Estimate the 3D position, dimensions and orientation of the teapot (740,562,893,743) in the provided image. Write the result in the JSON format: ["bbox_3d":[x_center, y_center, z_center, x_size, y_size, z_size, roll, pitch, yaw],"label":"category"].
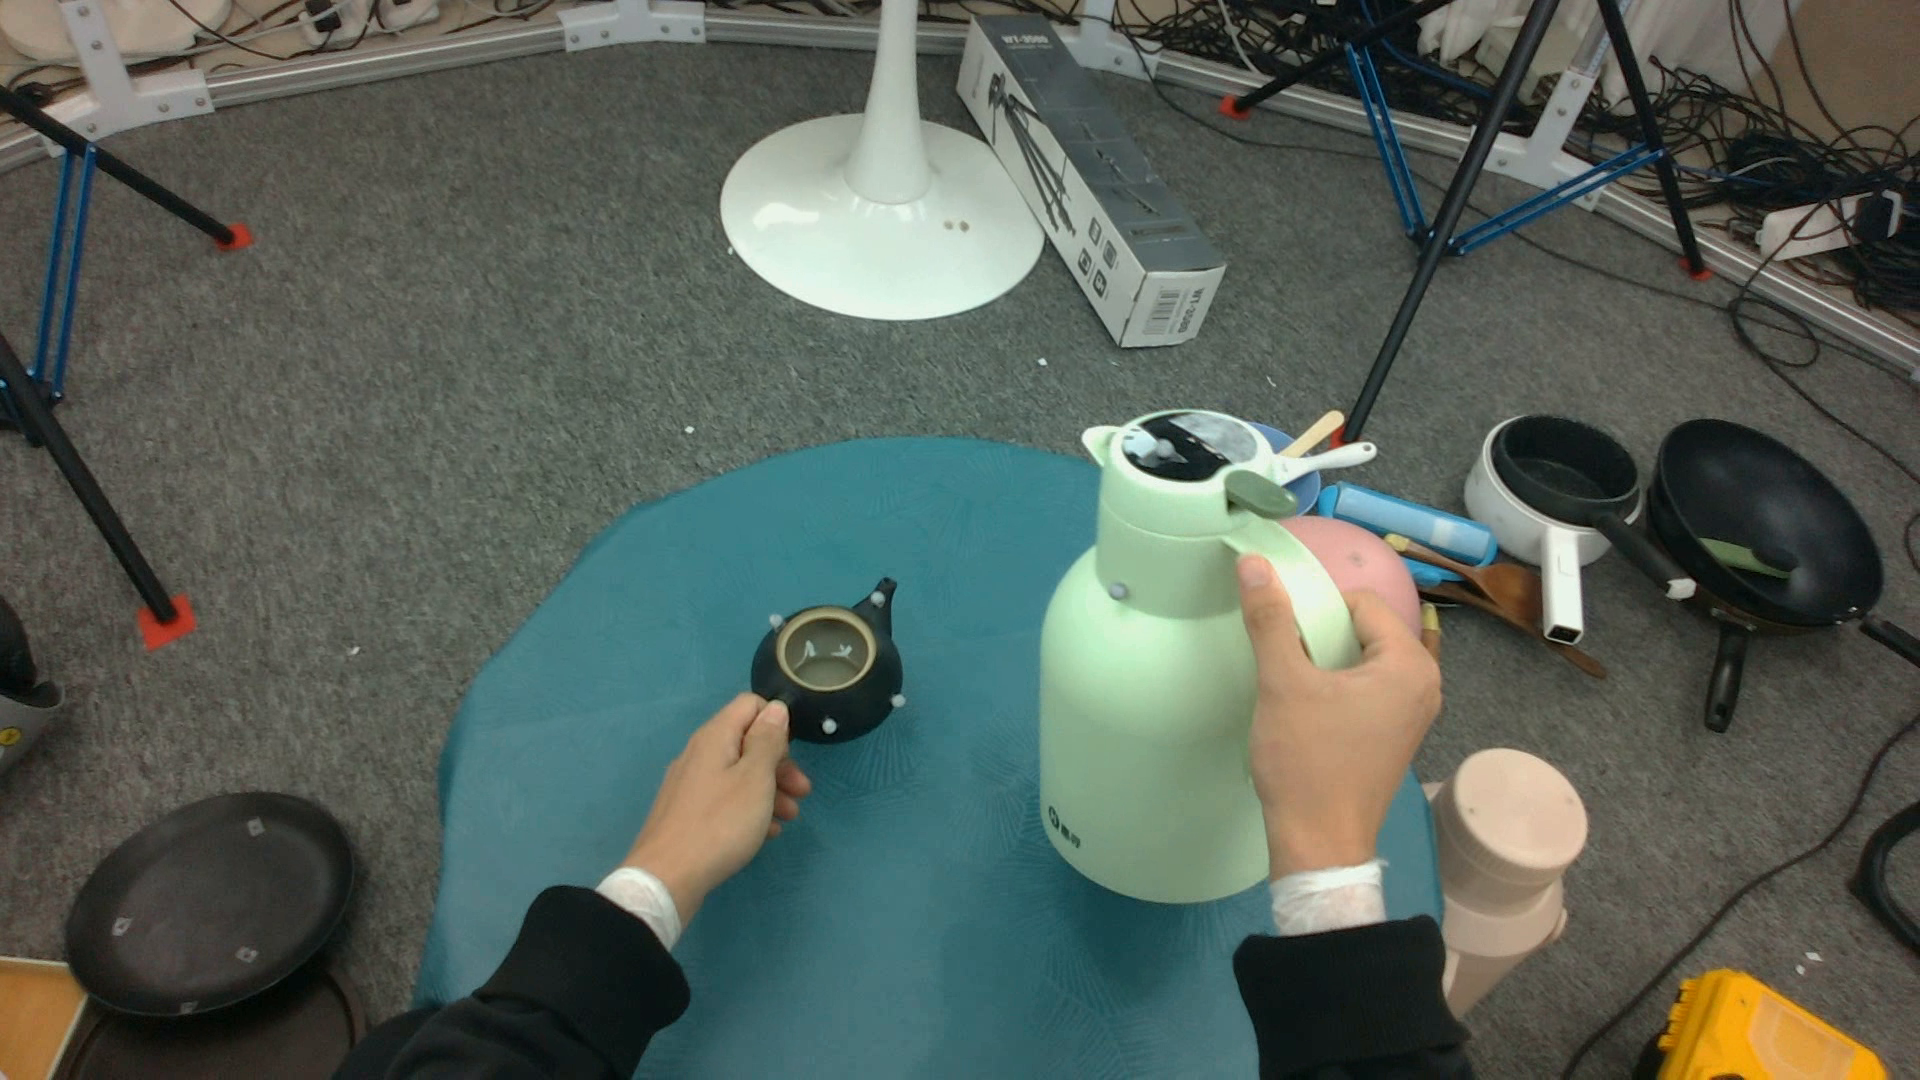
[{"bbox_3d":[-0.085,0.070,0.814,0.091,0.053,0.134,28,54,17],"label":"teapot"}]

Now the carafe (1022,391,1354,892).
[{"bbox_3d":[0.112,0.056,0.701,0.145,0.255,0.187,-24,43,-28],"label":"carafe"}]
